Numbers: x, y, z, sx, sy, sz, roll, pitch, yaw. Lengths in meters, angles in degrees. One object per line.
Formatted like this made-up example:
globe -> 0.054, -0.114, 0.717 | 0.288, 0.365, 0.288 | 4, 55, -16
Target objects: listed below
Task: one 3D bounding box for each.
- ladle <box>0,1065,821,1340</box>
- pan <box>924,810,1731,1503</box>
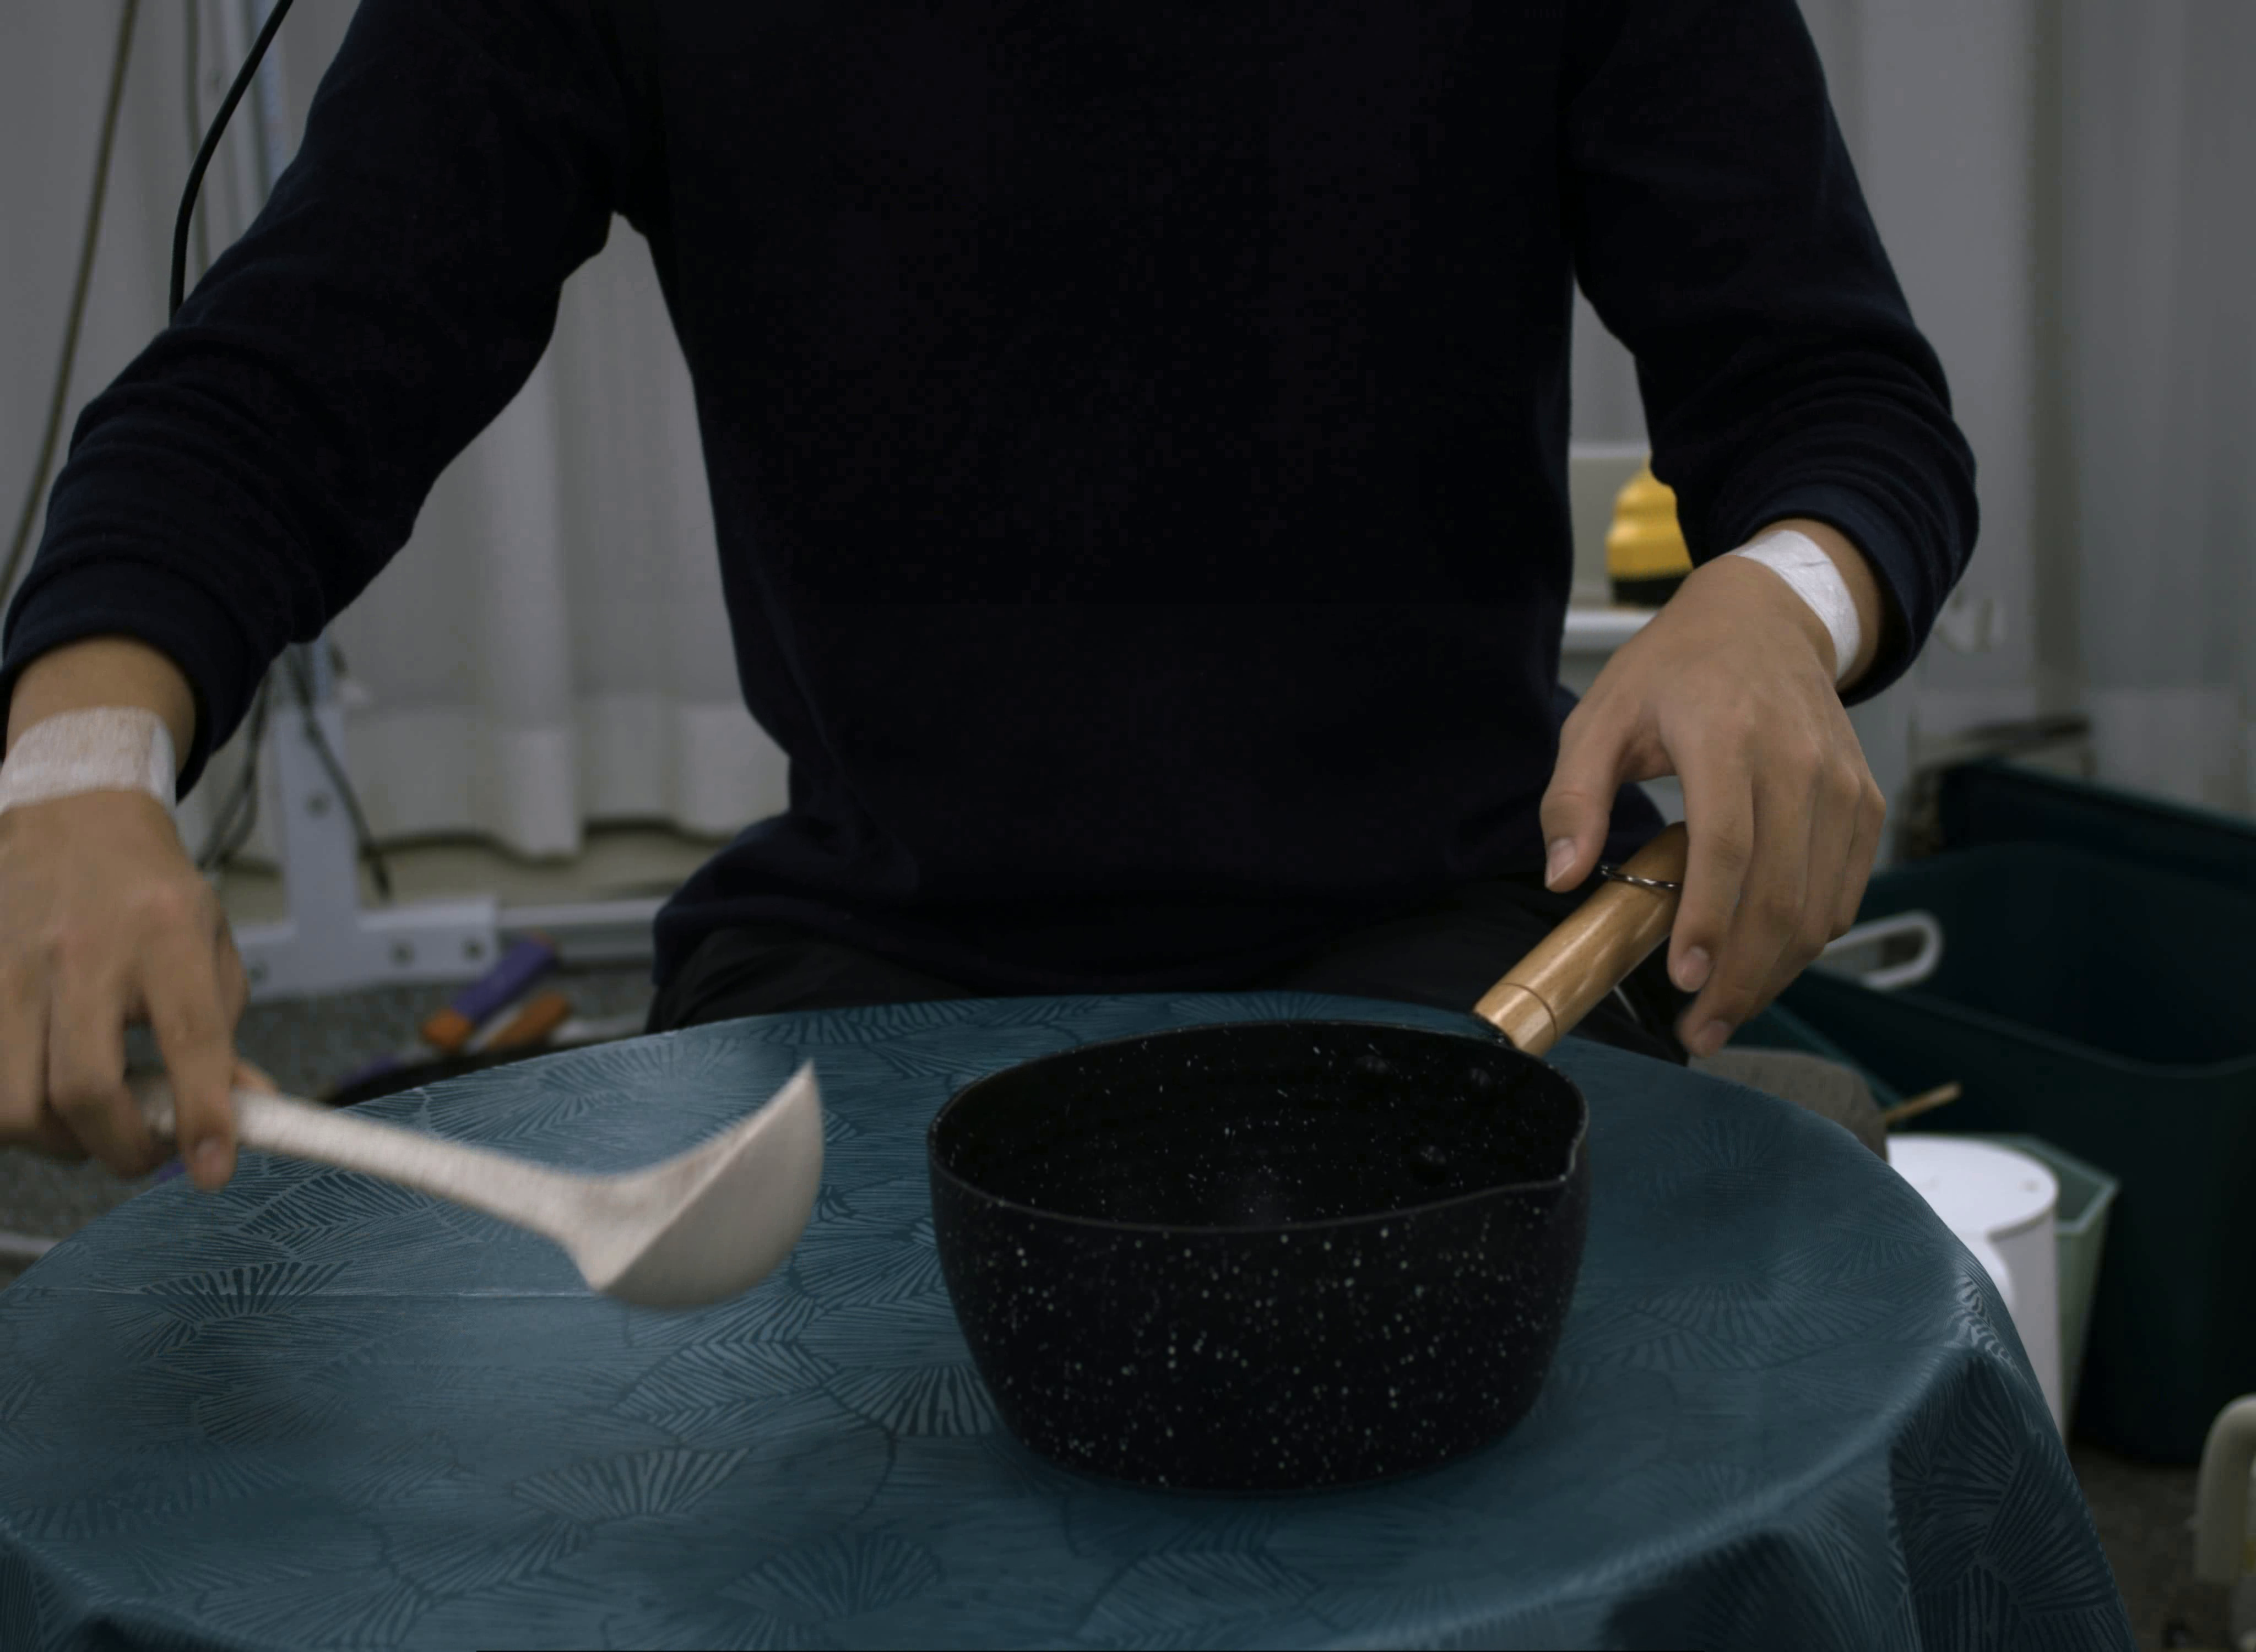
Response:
ladle -> -0.212, 0.078, 1.498 | 0.275, 0.068, 0.090 | 14, 38, 21
pan -> 0.082, 0.090, 1.582 | 0.208, 0.108, 0.343 | 6, 19, 34
